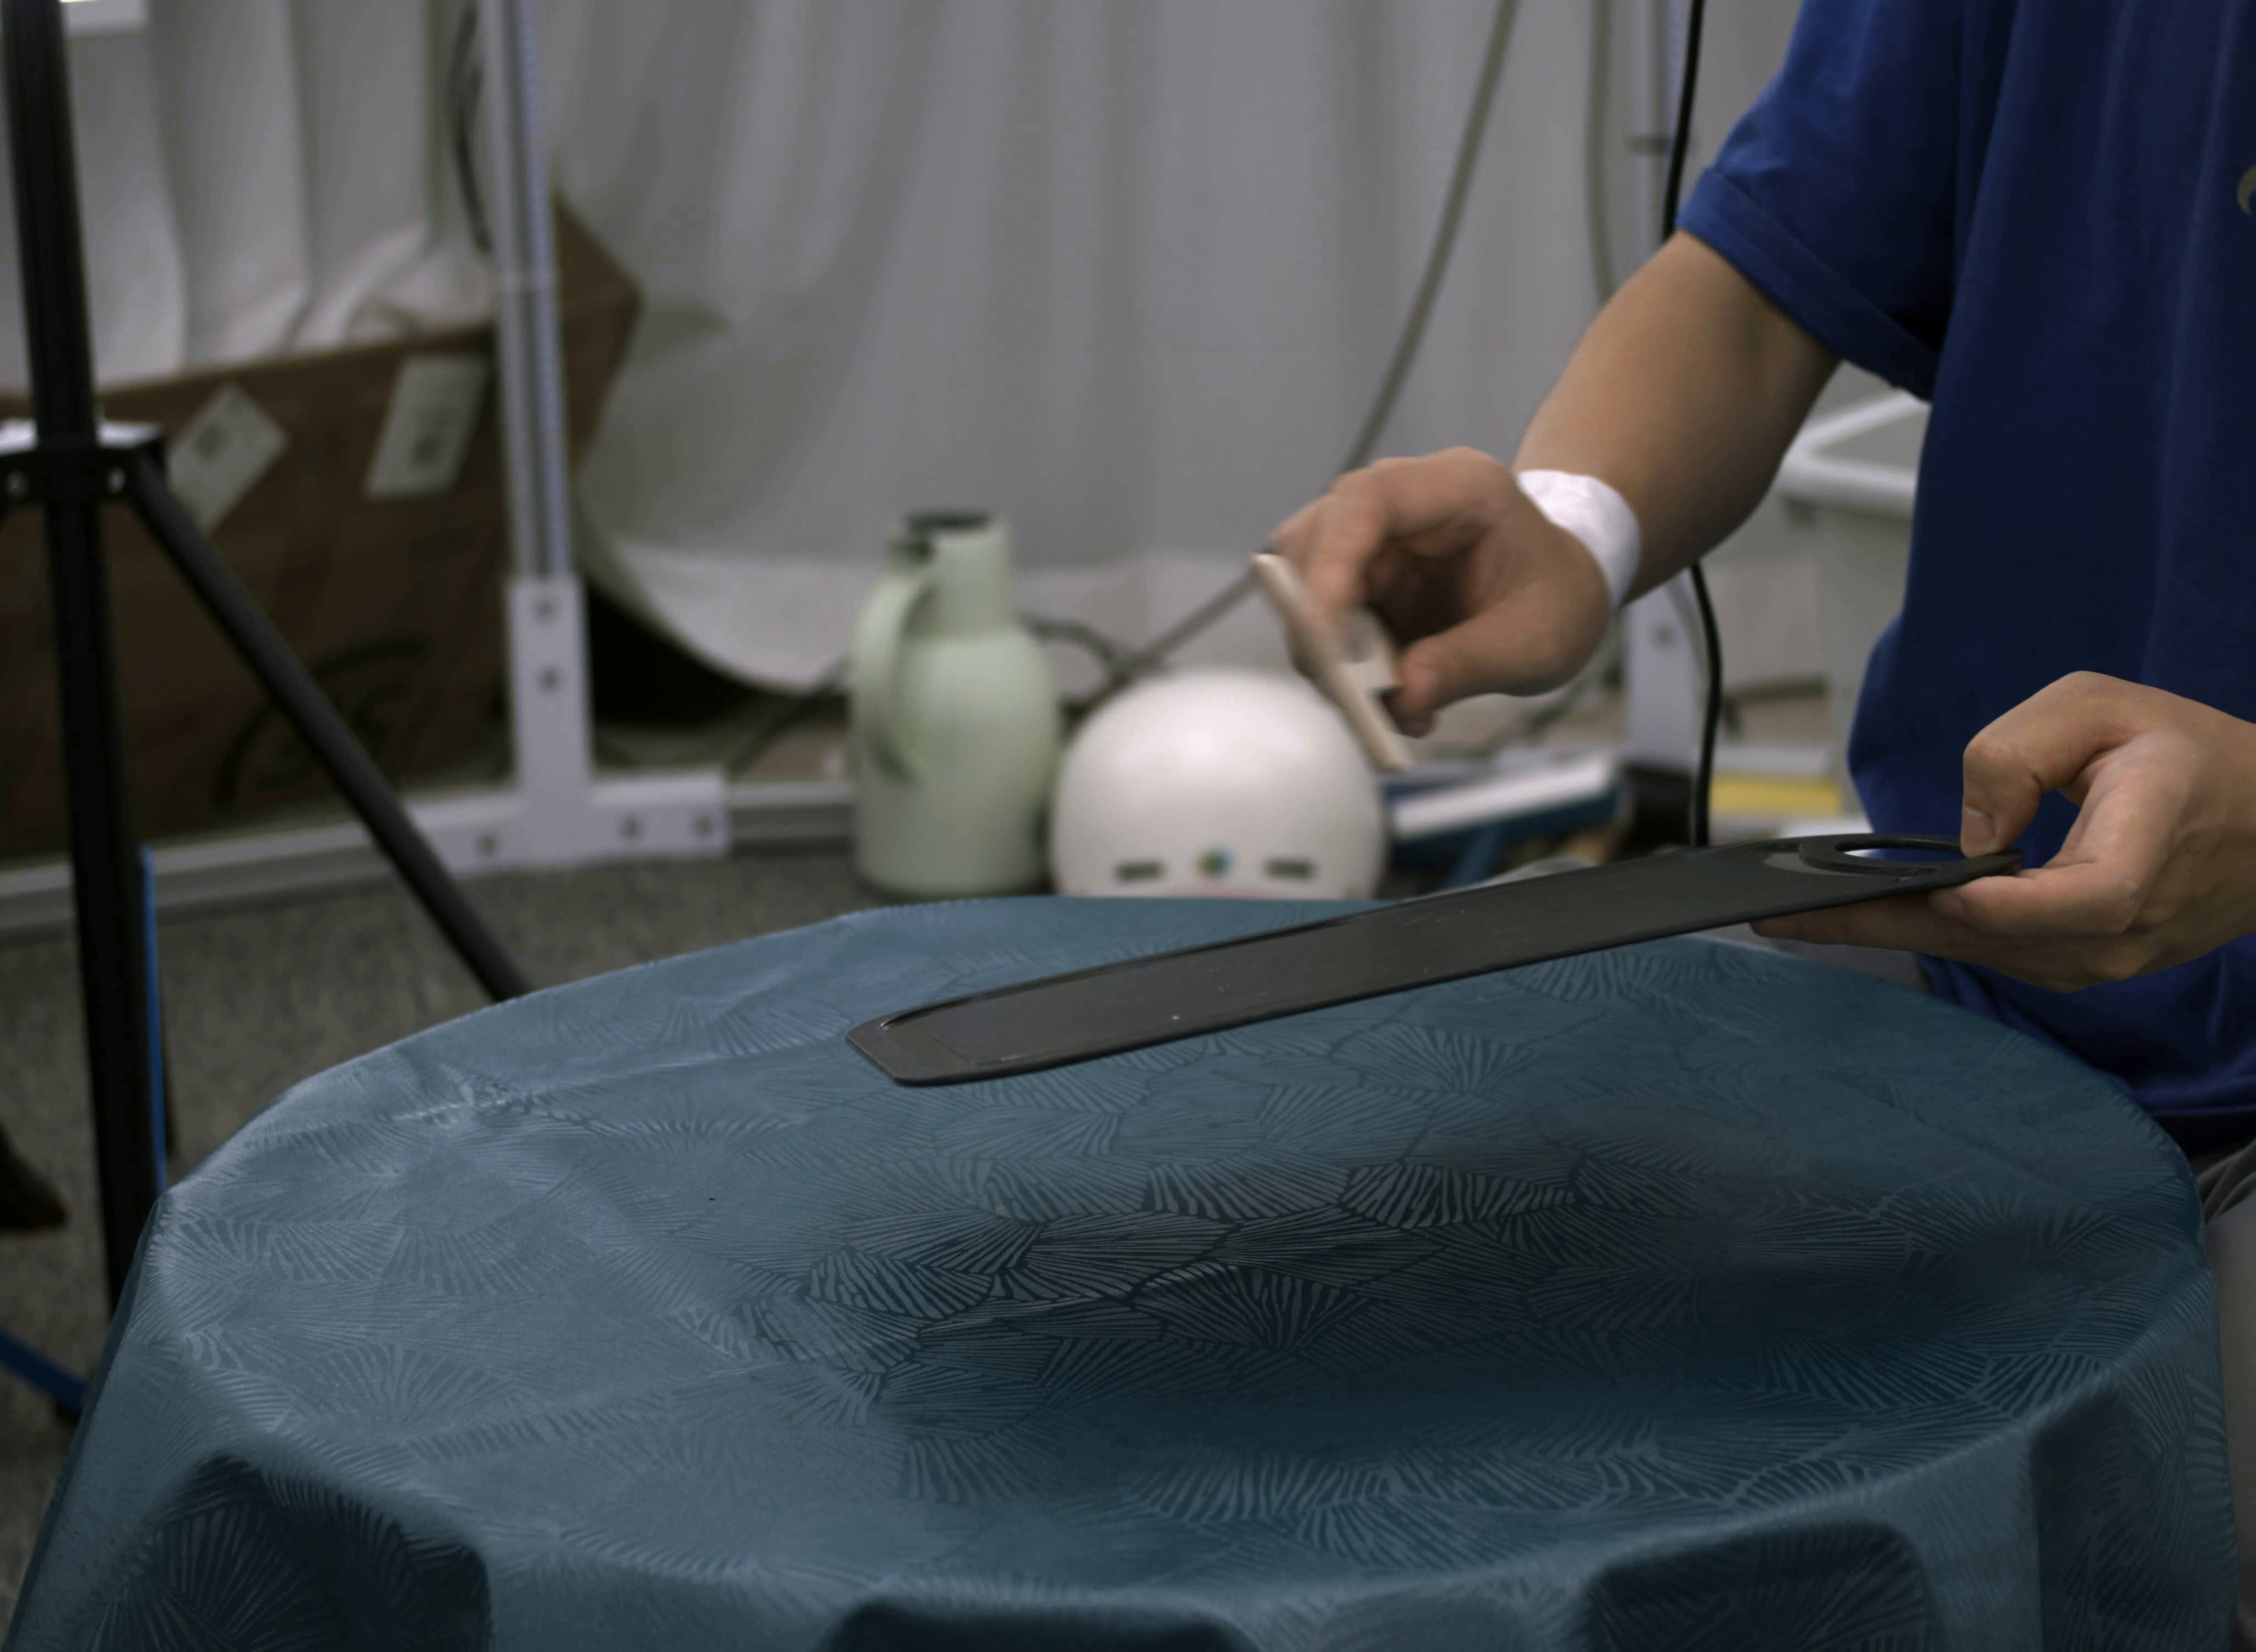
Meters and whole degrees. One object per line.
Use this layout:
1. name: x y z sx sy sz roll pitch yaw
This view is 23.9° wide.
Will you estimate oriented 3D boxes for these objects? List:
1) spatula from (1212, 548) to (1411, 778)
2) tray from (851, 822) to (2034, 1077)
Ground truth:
1. spatula: 0.060 -0.051 1.551 0.011 0.072 0.291 -33 -2 9
2. tray: 0.087 0.030 1.466 0.322 0.010 0.212 -11 4 -6
